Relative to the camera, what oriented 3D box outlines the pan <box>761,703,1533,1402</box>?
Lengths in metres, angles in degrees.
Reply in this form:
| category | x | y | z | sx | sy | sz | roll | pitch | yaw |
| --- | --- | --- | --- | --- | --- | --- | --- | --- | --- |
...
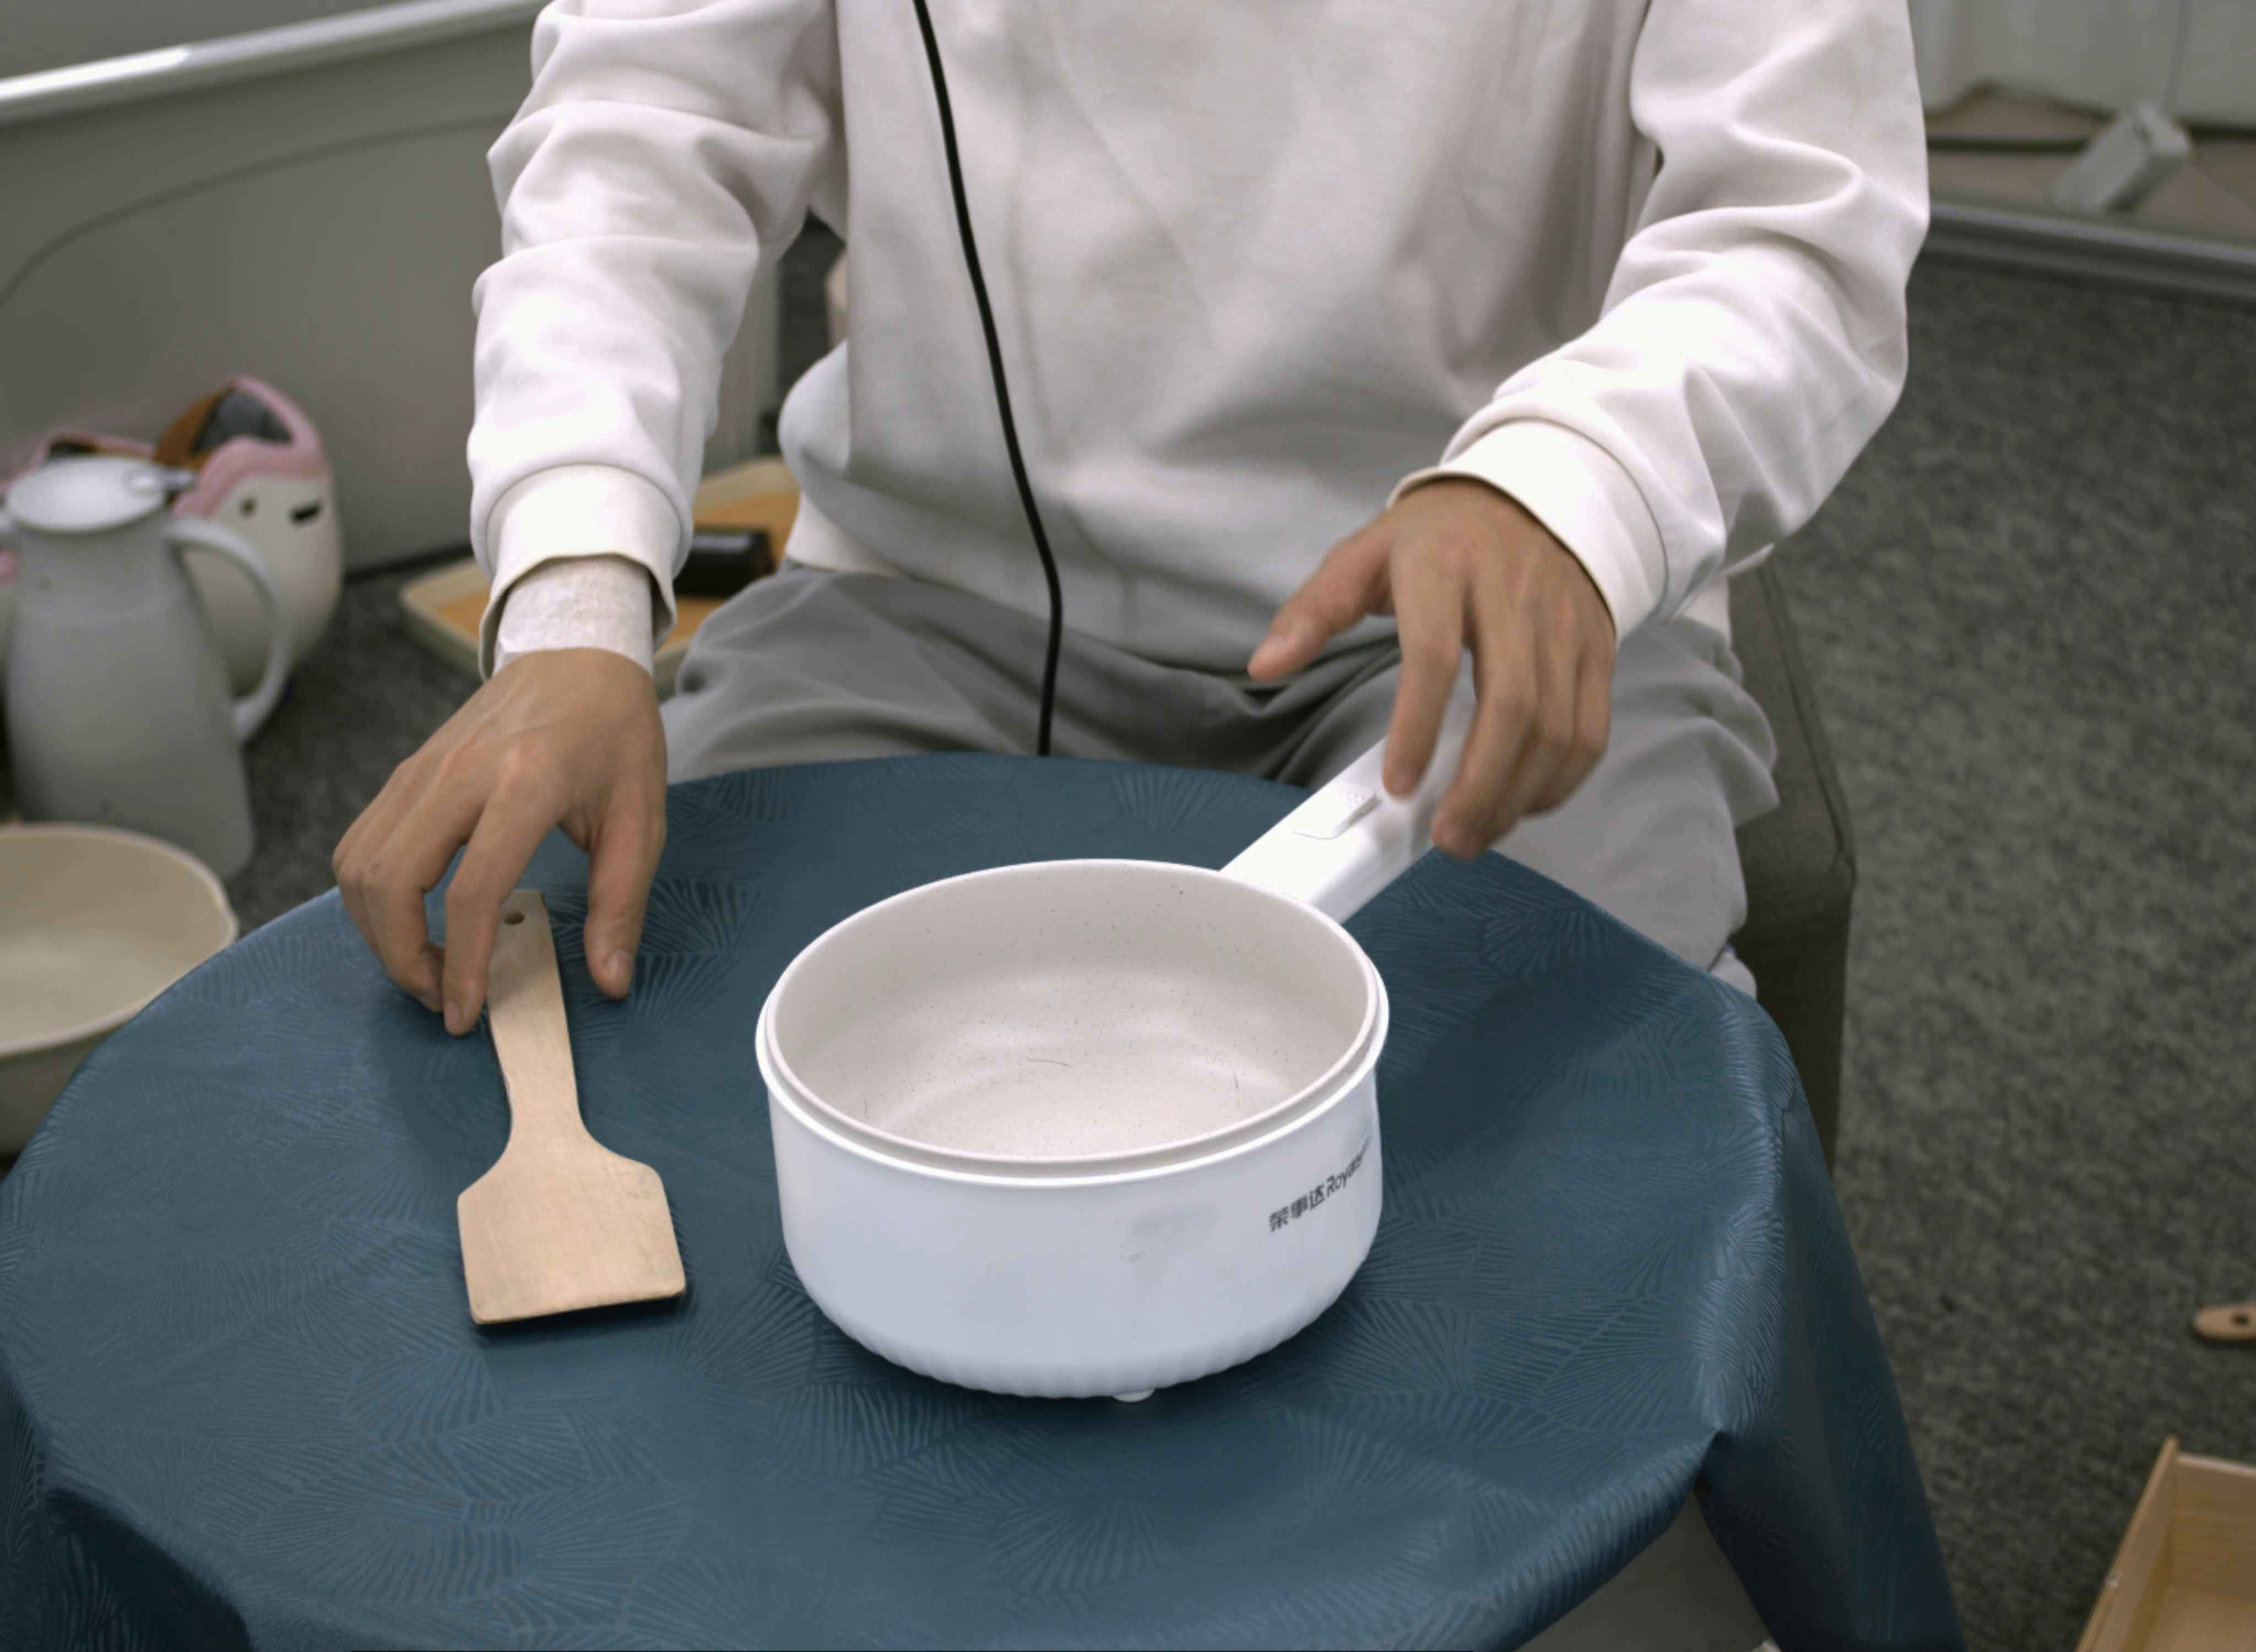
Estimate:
| category | x | y | z | sx | sy | sz | roll | pitch | yaw |
| --- | --- | --- | --- | --- | --- | --- | --- | --- | --- |
| pan | 0.028 | 0.070 | 1.857 | 0.200 | 0.101 | 0.360 | 14 | 30 | 30 |

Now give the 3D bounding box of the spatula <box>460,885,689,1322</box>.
| category | x | y | z | sx | sy | sz | roll | pitch | yaw |
| --- | --- | --- | --- | --- | --- | --- | --- | --- | --- |
| spatula | -0.202 | 0.091 | 1.931 | 0.072 | 0.010 | 0.296 | -8 | 28 | -8 |
